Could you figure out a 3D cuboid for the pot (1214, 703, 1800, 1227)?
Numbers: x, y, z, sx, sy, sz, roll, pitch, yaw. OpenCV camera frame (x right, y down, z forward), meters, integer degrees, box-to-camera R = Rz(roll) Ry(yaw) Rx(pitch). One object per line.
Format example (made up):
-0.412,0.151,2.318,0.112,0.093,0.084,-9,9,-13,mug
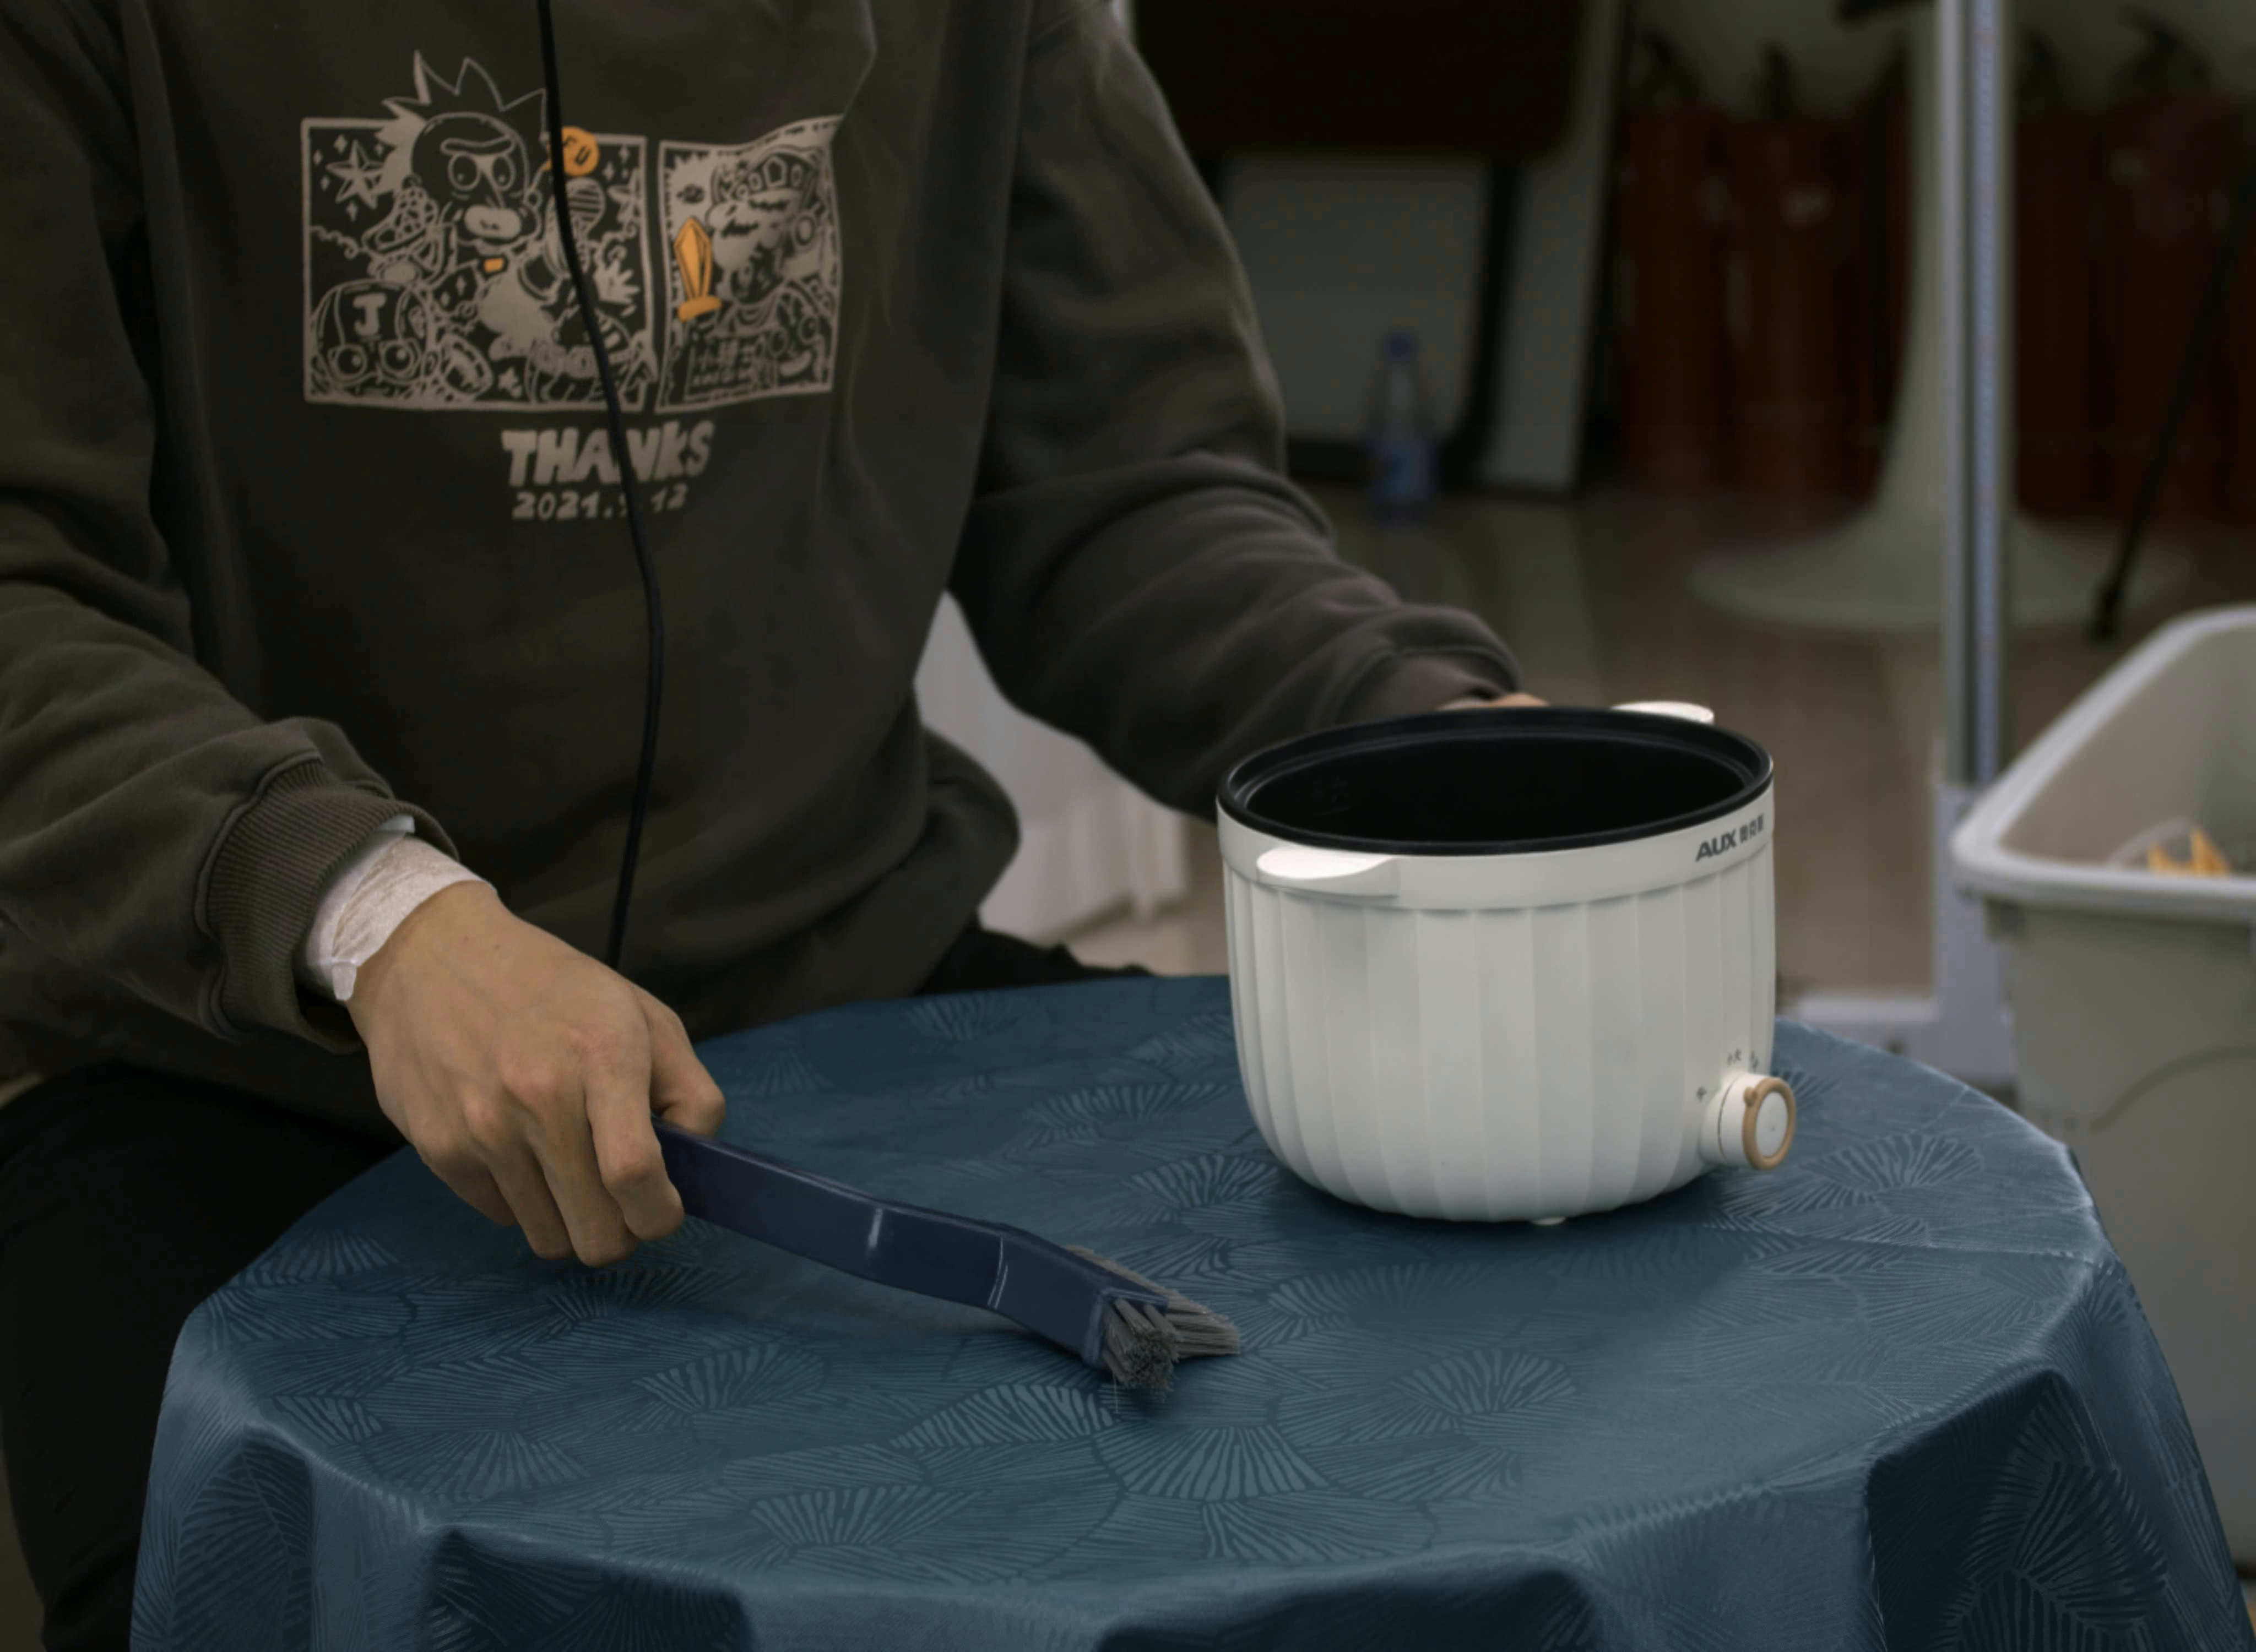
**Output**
0.127,0.047,1.749,0.192,0.144,0.236,2,15,37,pot

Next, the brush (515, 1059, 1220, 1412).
-0.093,0.123,1.656,0.274,0.034,0.094,15,9,28,brush
